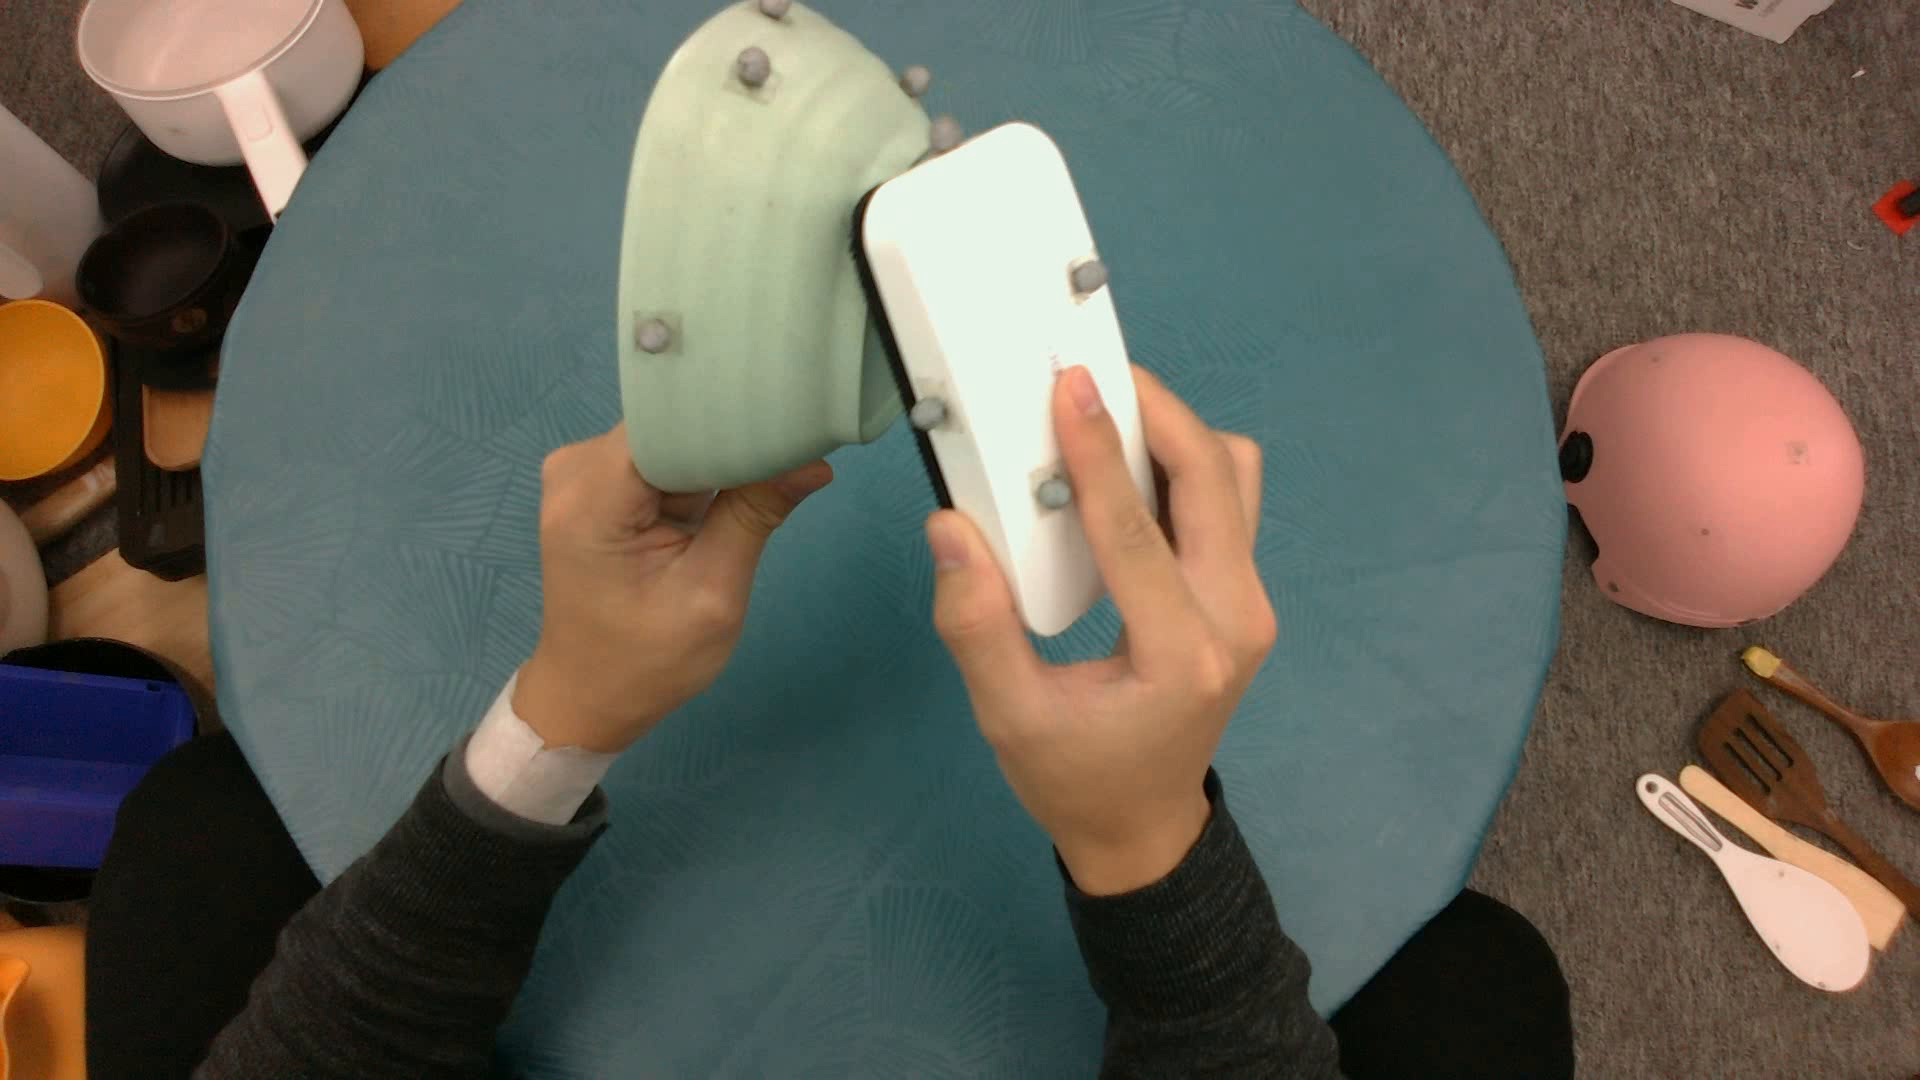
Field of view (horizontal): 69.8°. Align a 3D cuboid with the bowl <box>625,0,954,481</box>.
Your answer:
[{"bbox_3d":[-0.042,-0.082,0.410,0.058,0.151,0.152,15,75,9],"label":"bowl"}]

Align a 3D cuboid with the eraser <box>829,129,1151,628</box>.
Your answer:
[{"bbox_3d":[0.011,-0.041,0.374,0.063,0.034,0.131,-37,117,-33],"label":"eraser"}]
